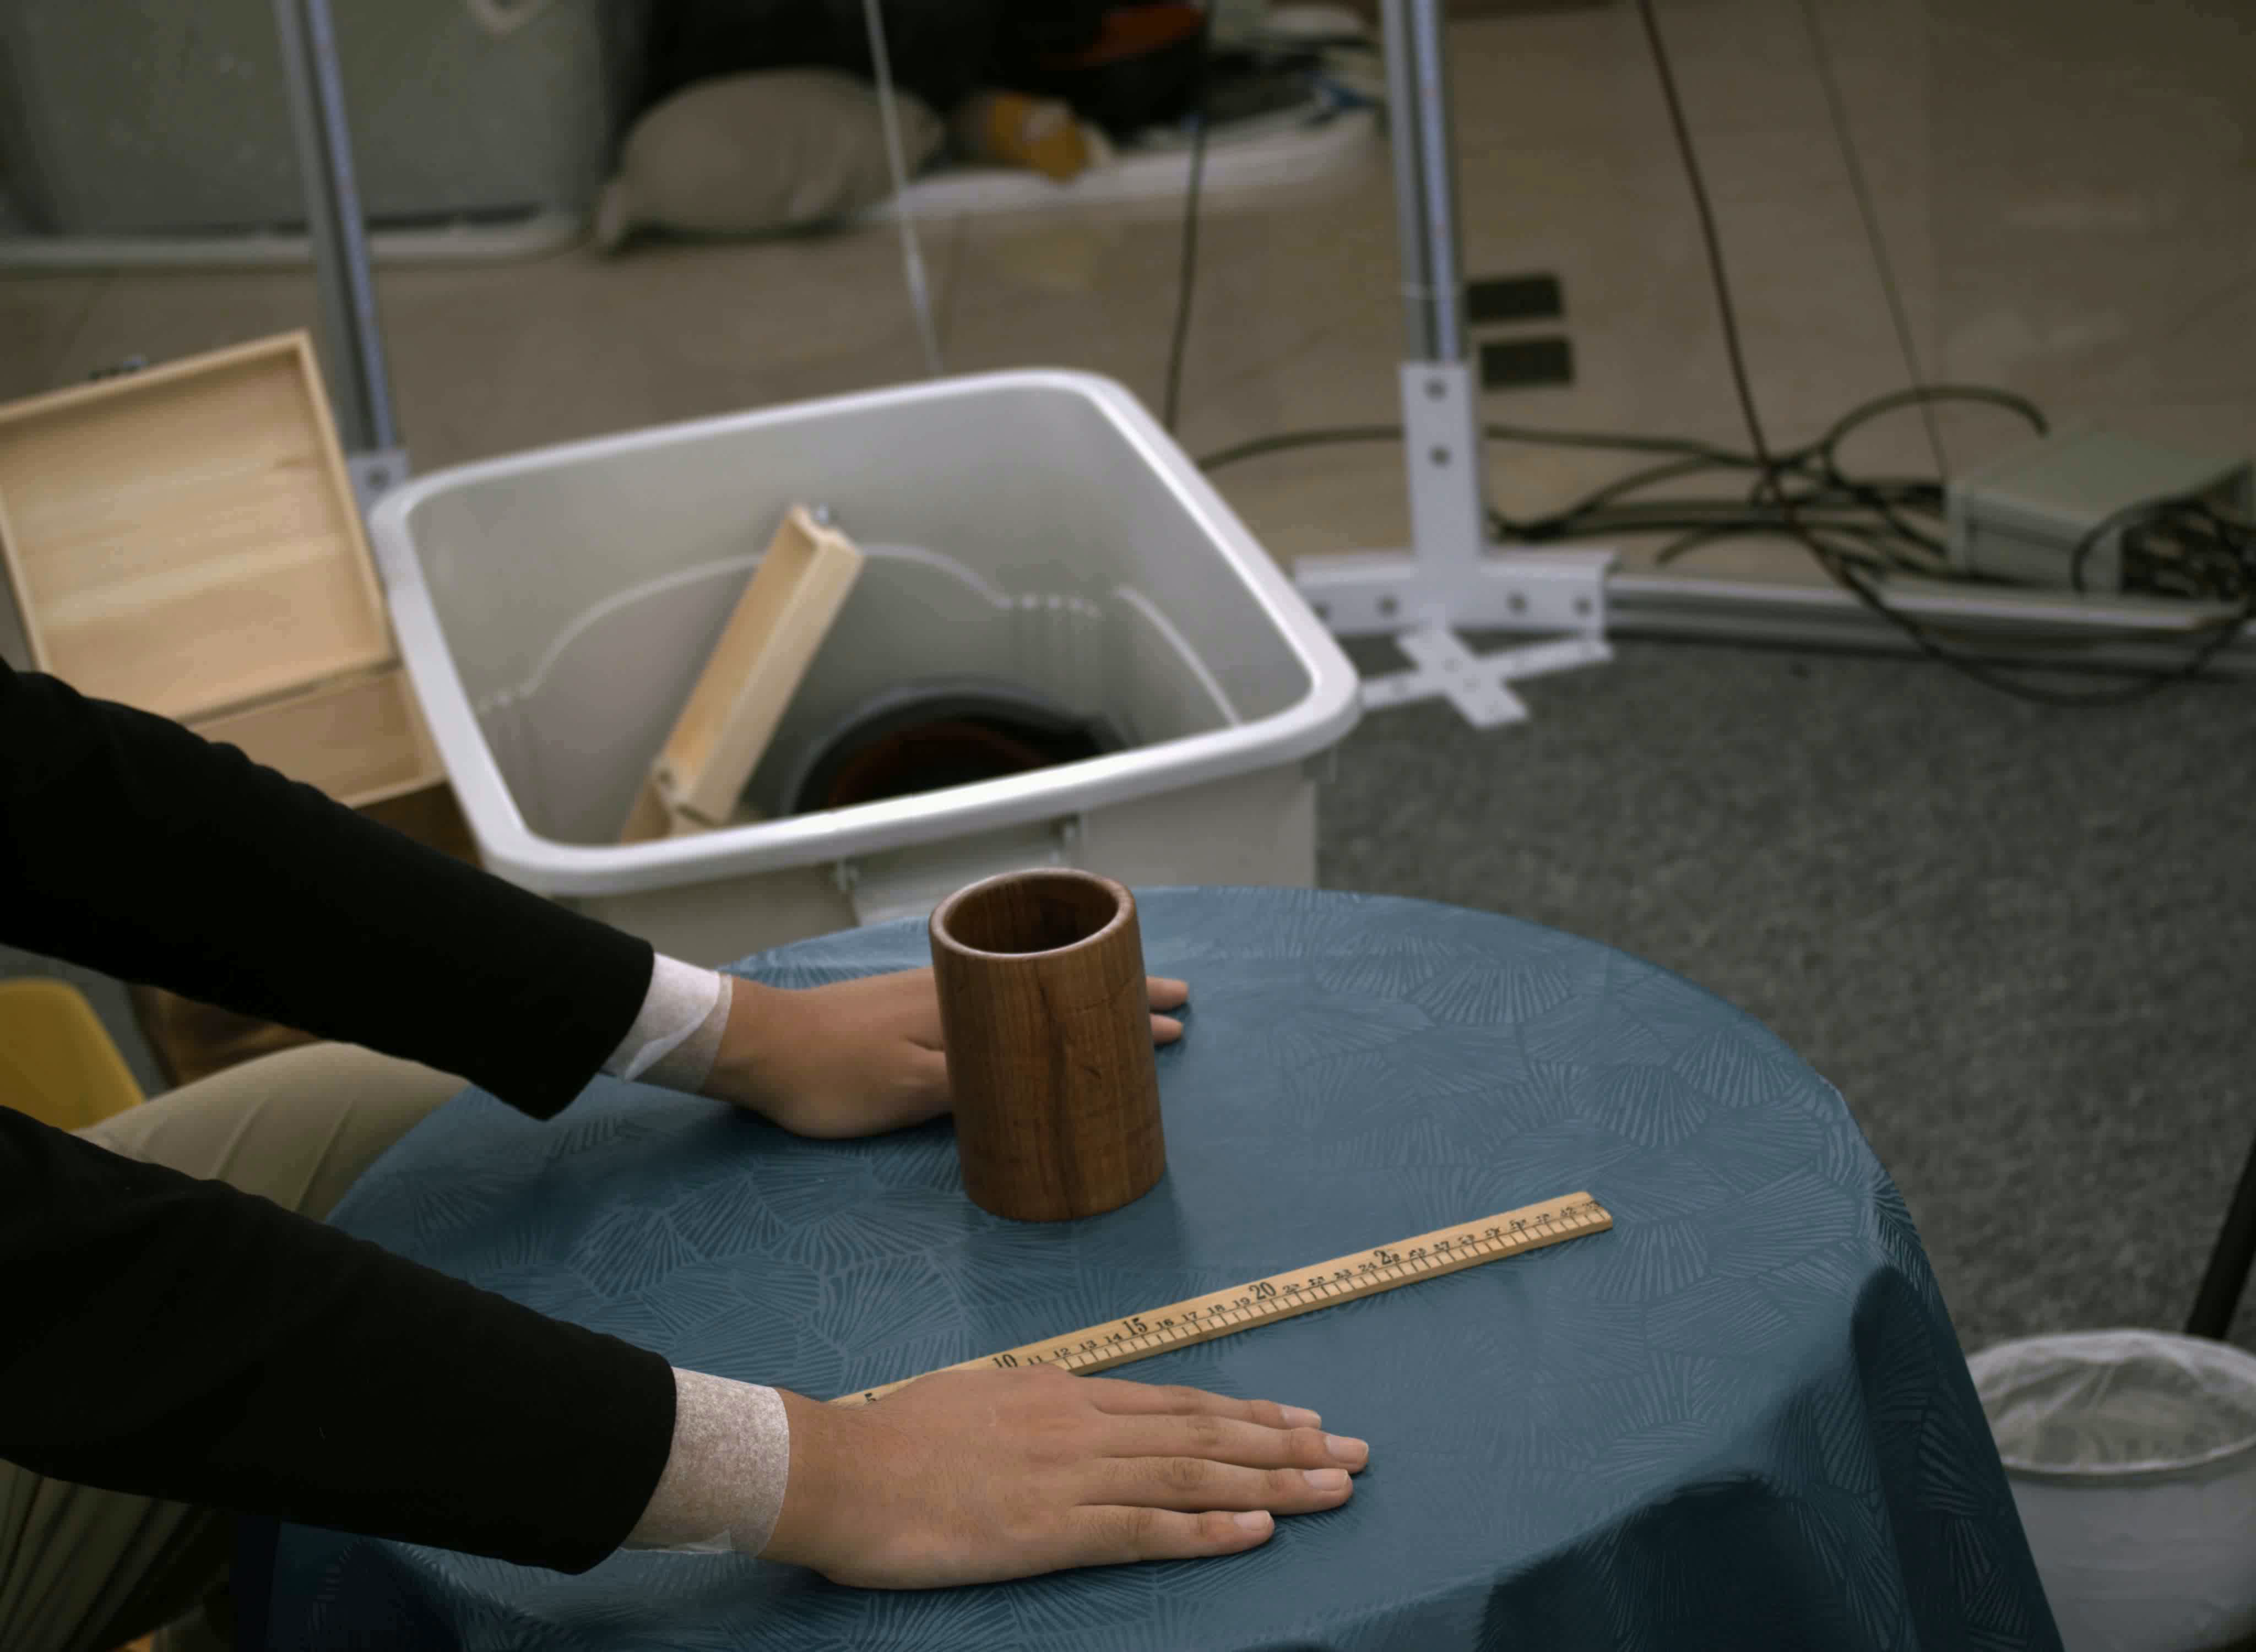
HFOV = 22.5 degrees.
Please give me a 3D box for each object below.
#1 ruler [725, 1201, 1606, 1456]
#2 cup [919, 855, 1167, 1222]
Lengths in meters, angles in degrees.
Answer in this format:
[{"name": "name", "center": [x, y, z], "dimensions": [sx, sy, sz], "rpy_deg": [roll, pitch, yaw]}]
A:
[{"name": "ruler", "center": [0.016, 0.178, 2.049], "dimensions": [0.331, 0.022, 0.027], "rpy_deg": [-13, 22, -15]}, {"name": "cup", "center": [-0.029, 0.080, 2.142], "dimensions": [0.087, 0.120, 0.086], "rpy_deg": [-6, 25, 3]}]
